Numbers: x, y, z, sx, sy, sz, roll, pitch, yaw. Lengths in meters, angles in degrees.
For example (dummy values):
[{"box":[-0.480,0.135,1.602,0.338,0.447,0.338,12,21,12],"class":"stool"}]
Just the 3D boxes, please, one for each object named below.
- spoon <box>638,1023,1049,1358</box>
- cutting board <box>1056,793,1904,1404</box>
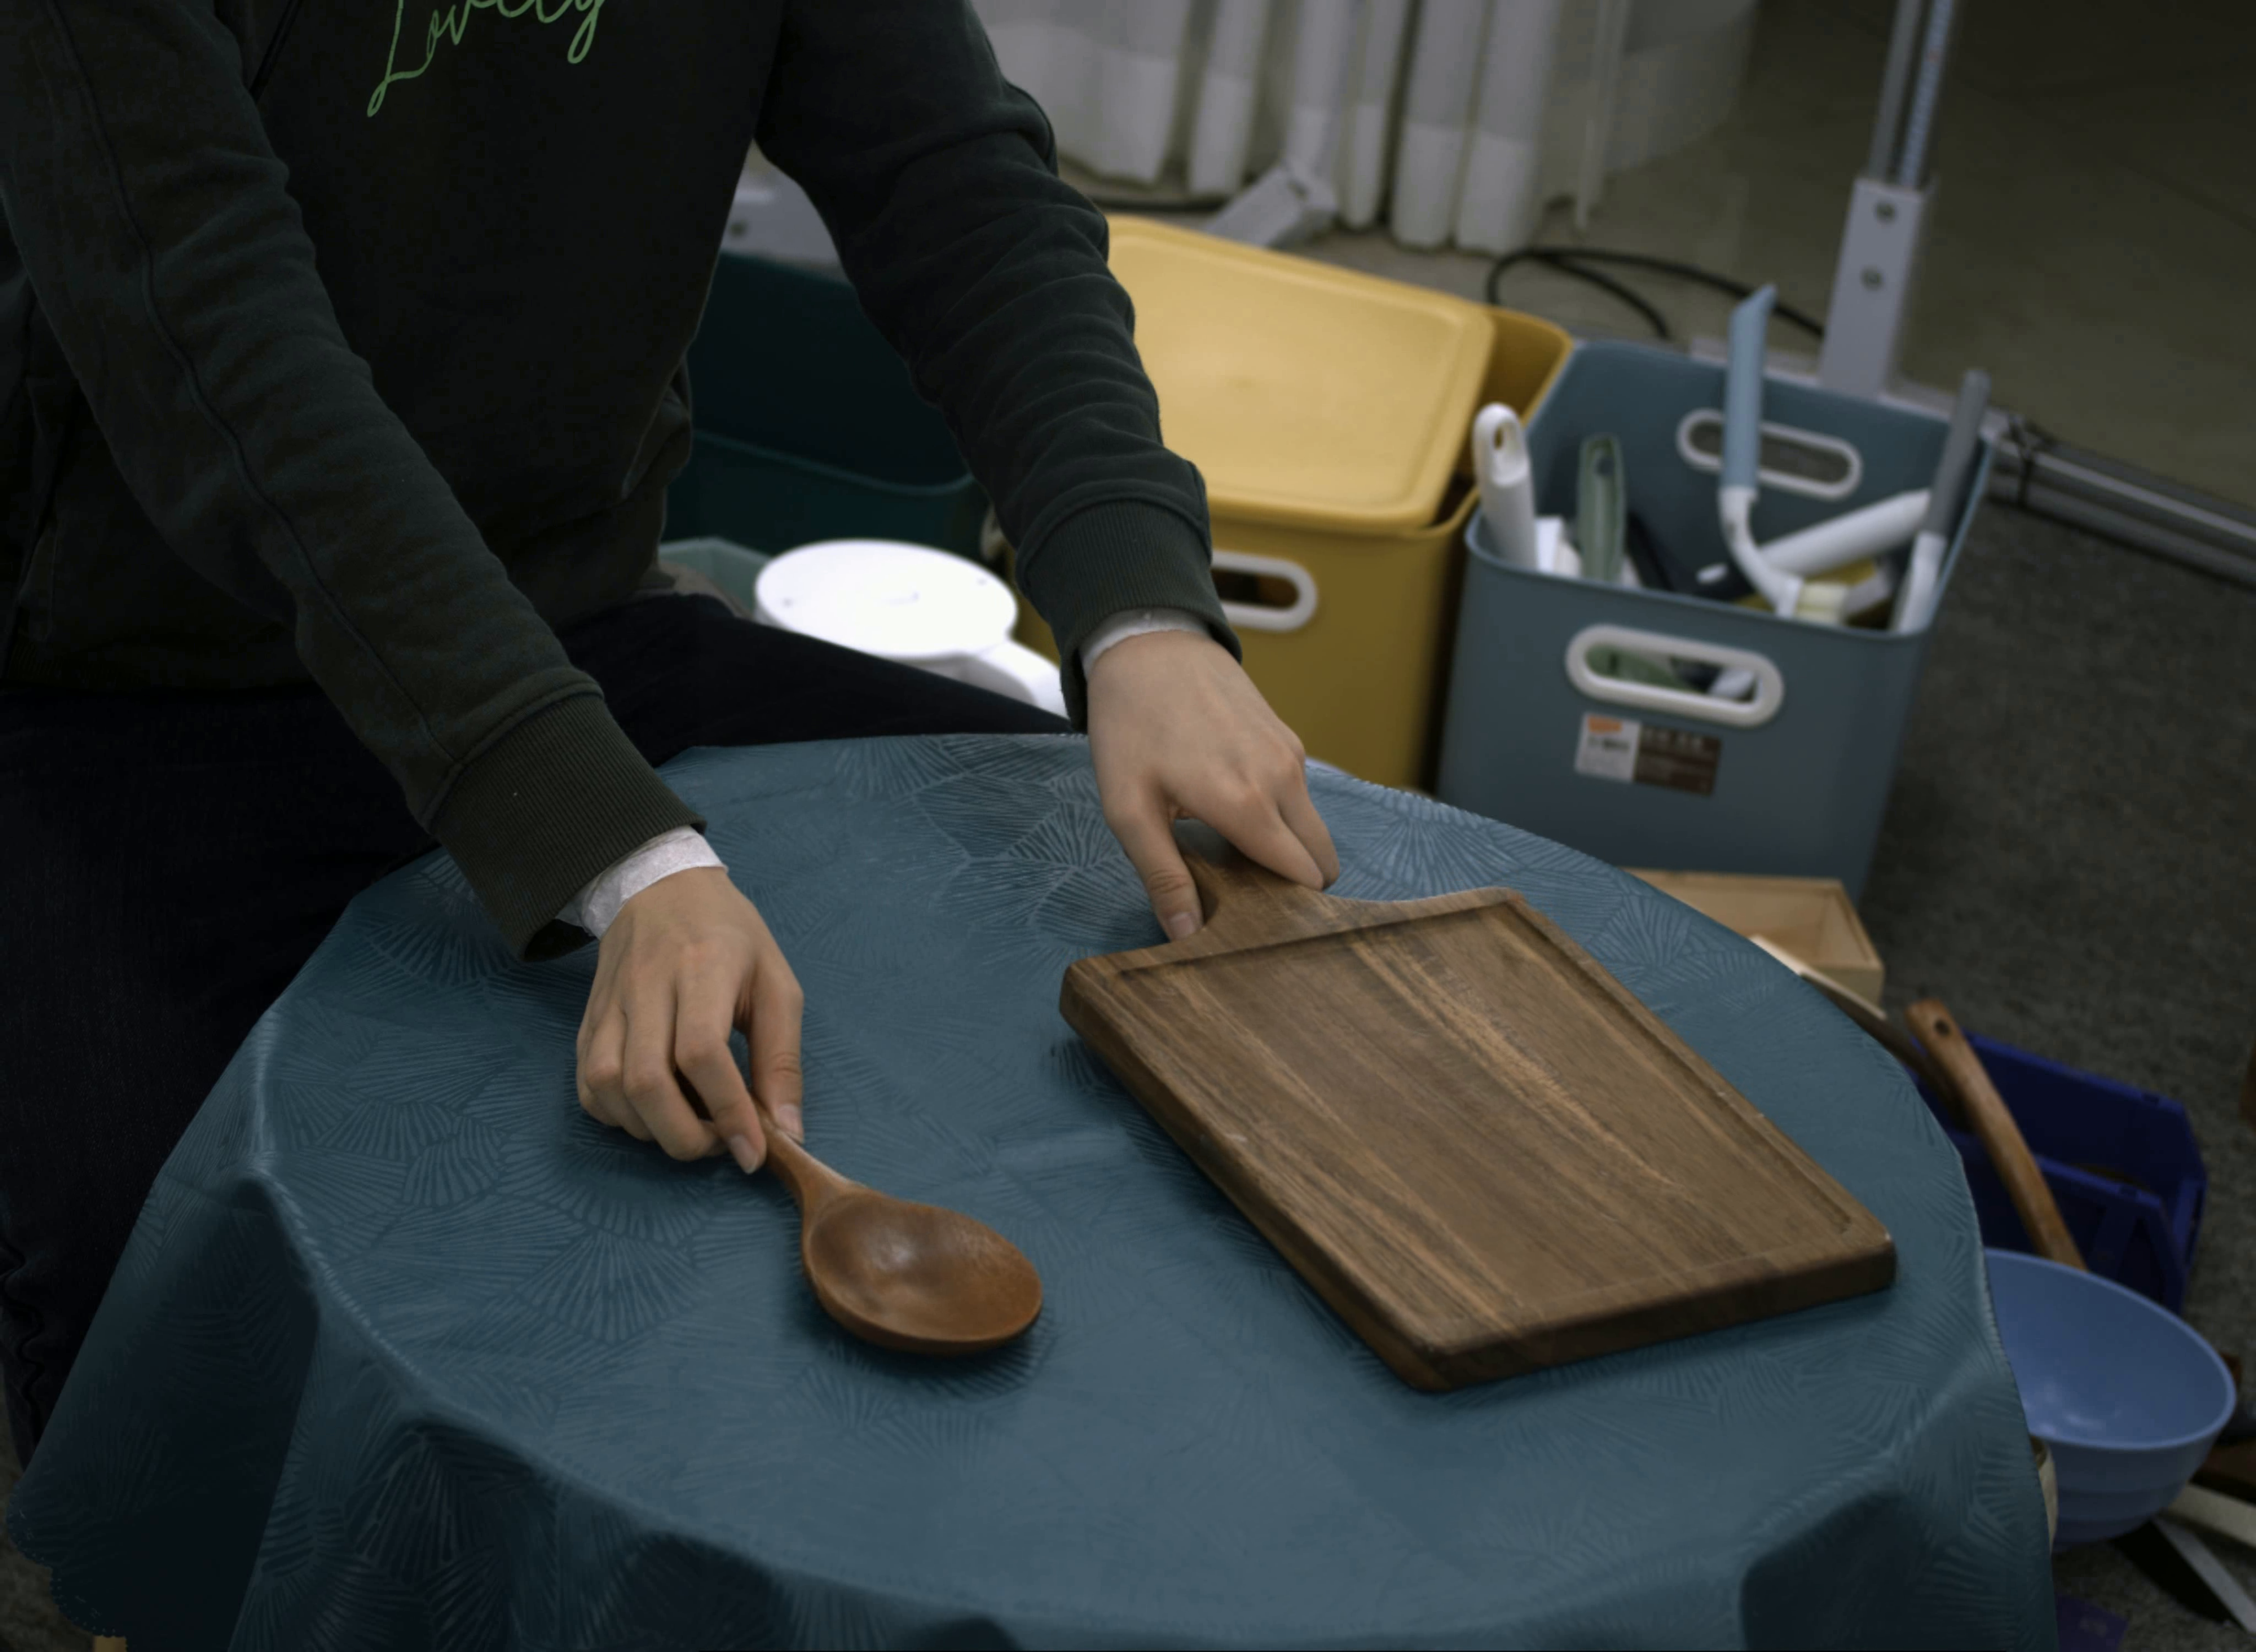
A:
[{"box":[-0.102,0.121,1.762,0.075,0.017,0.218,-14,34,-31],"class":"spoon"},{"box":[0.094,0.080,1.872,0.200,0.023,0.355,-10,34,-28],"class":"cutting board"}]
